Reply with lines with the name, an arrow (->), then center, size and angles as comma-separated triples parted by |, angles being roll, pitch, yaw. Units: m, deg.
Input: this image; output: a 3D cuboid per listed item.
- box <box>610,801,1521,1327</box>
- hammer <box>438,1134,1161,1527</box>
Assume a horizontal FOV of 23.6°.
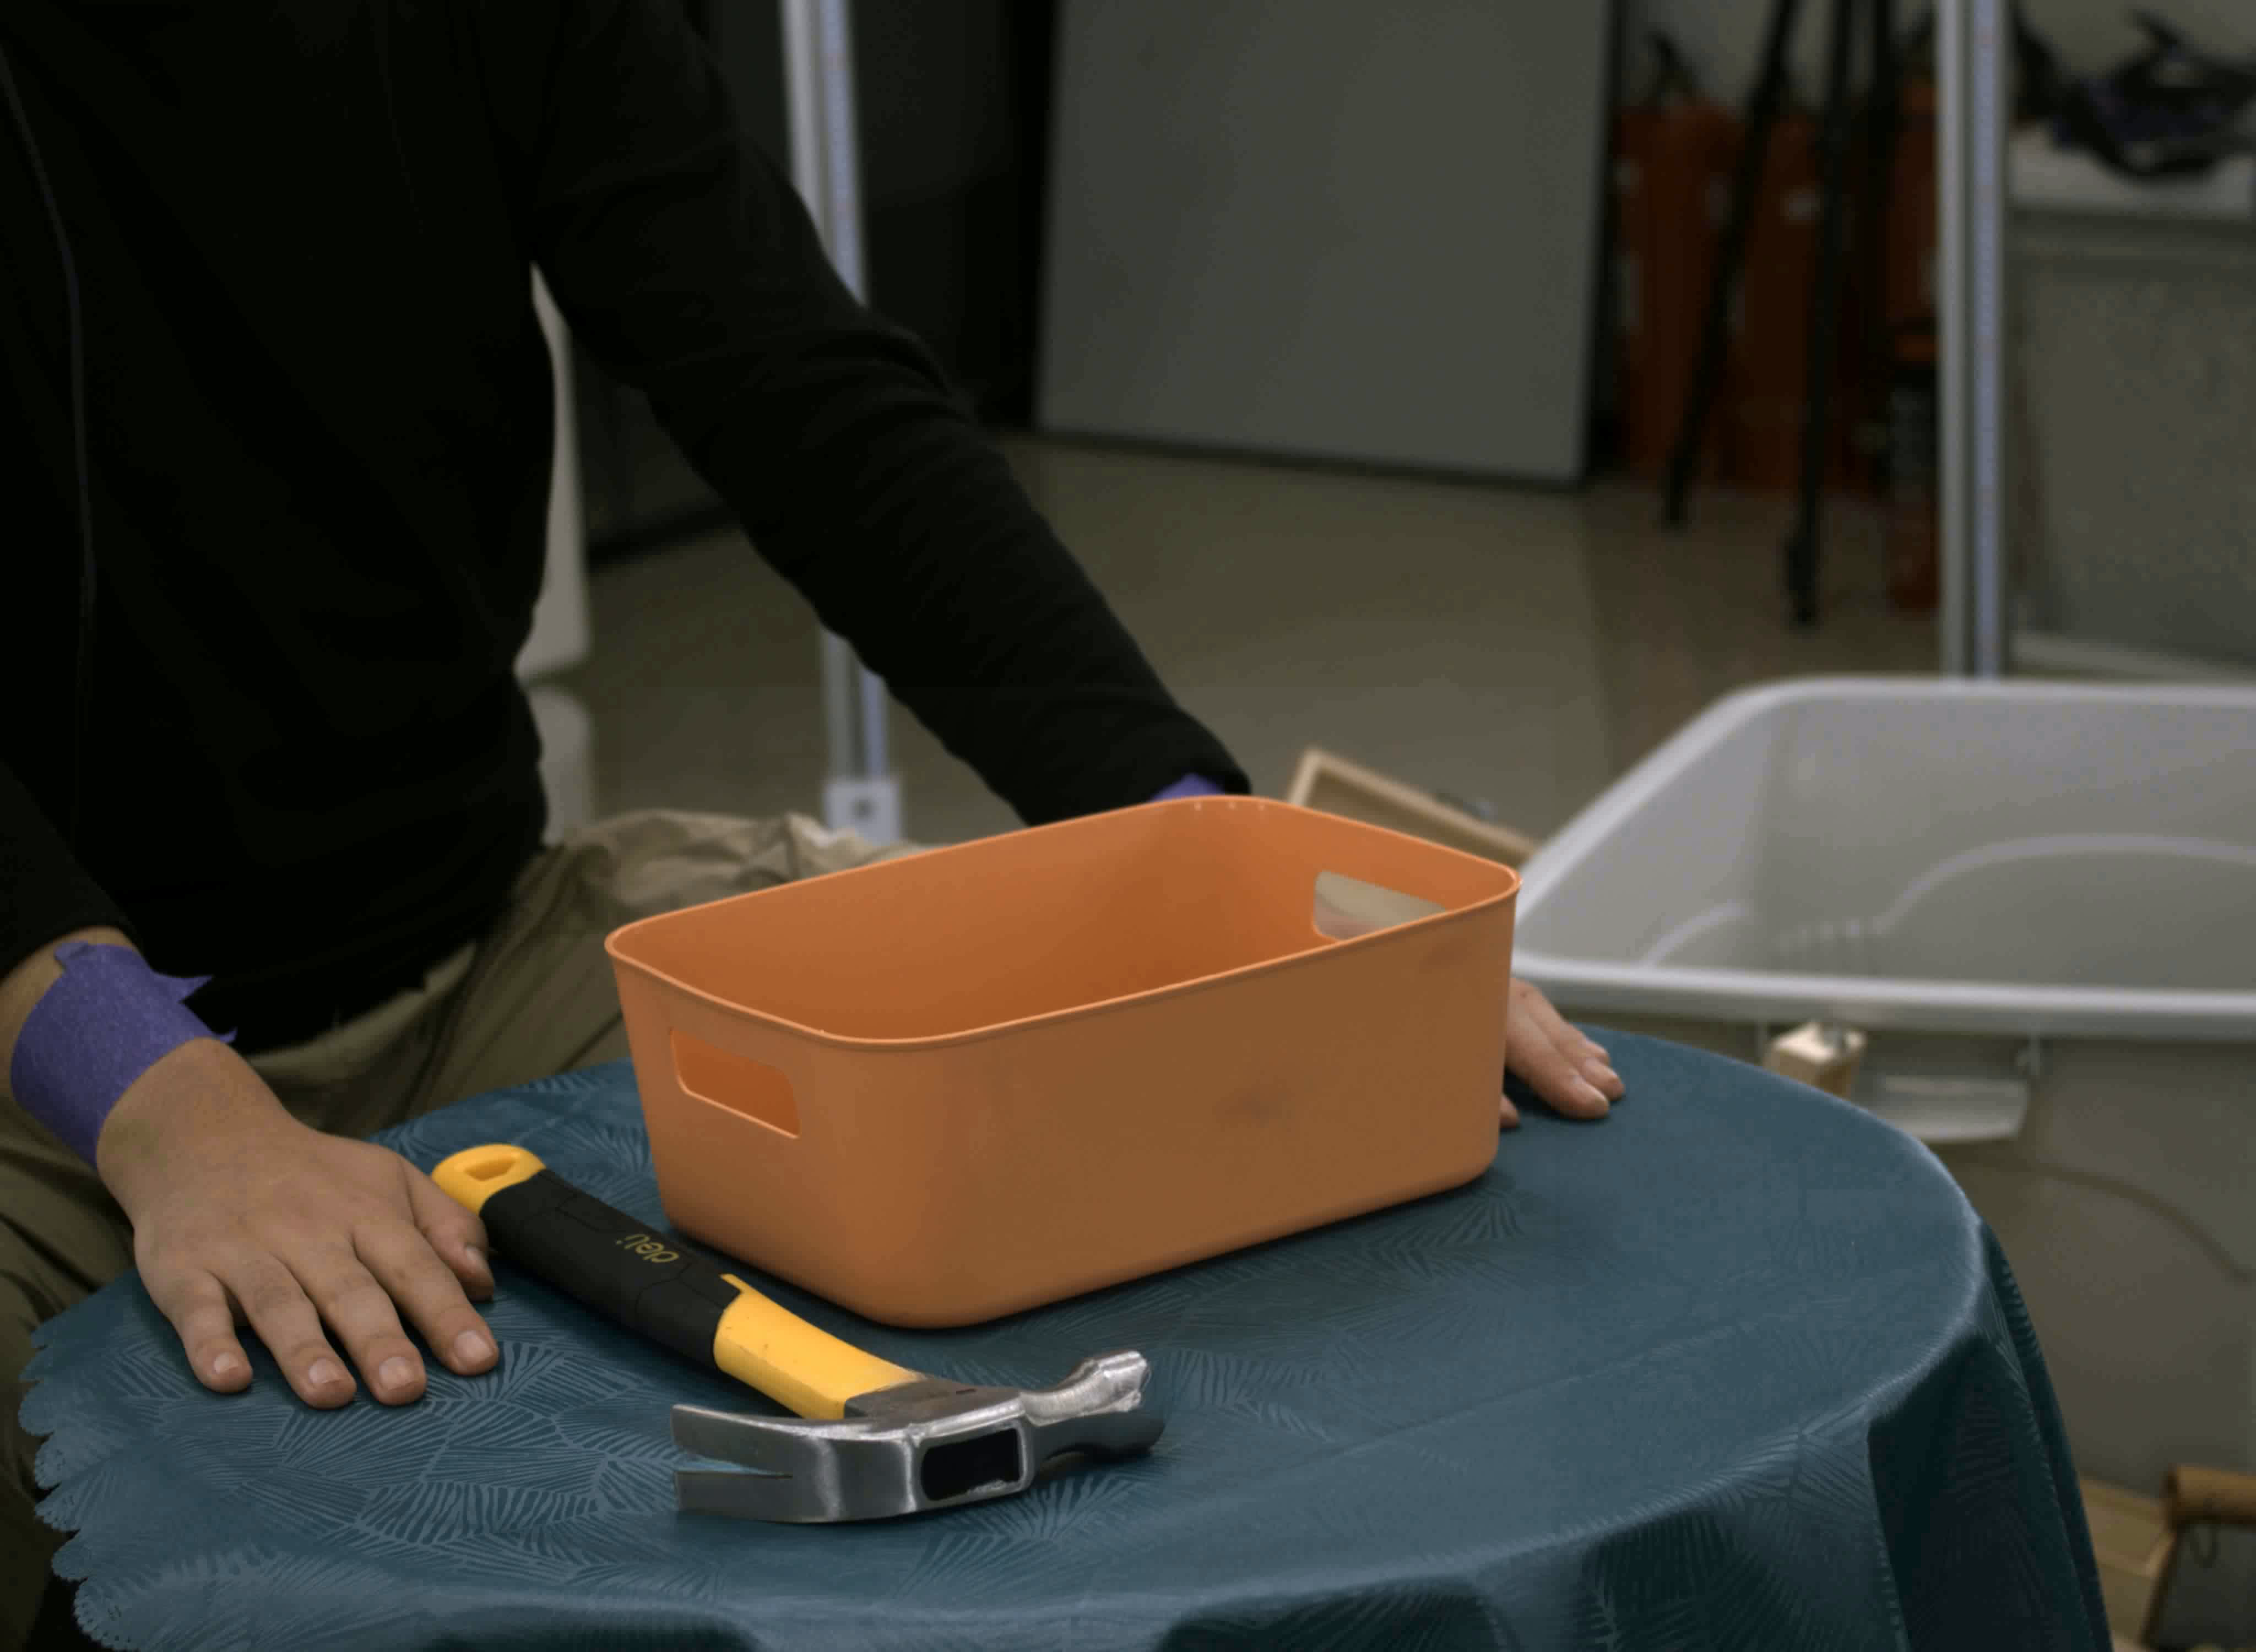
box -> -0.018, 0.074, 1.755 | 0.267, 0.104, 0.201 | -13, 15, -32
hammer -> -0.128, 0.145, 1.641 | 0.128, 0.032, 0.342 | -12, 16, -28
